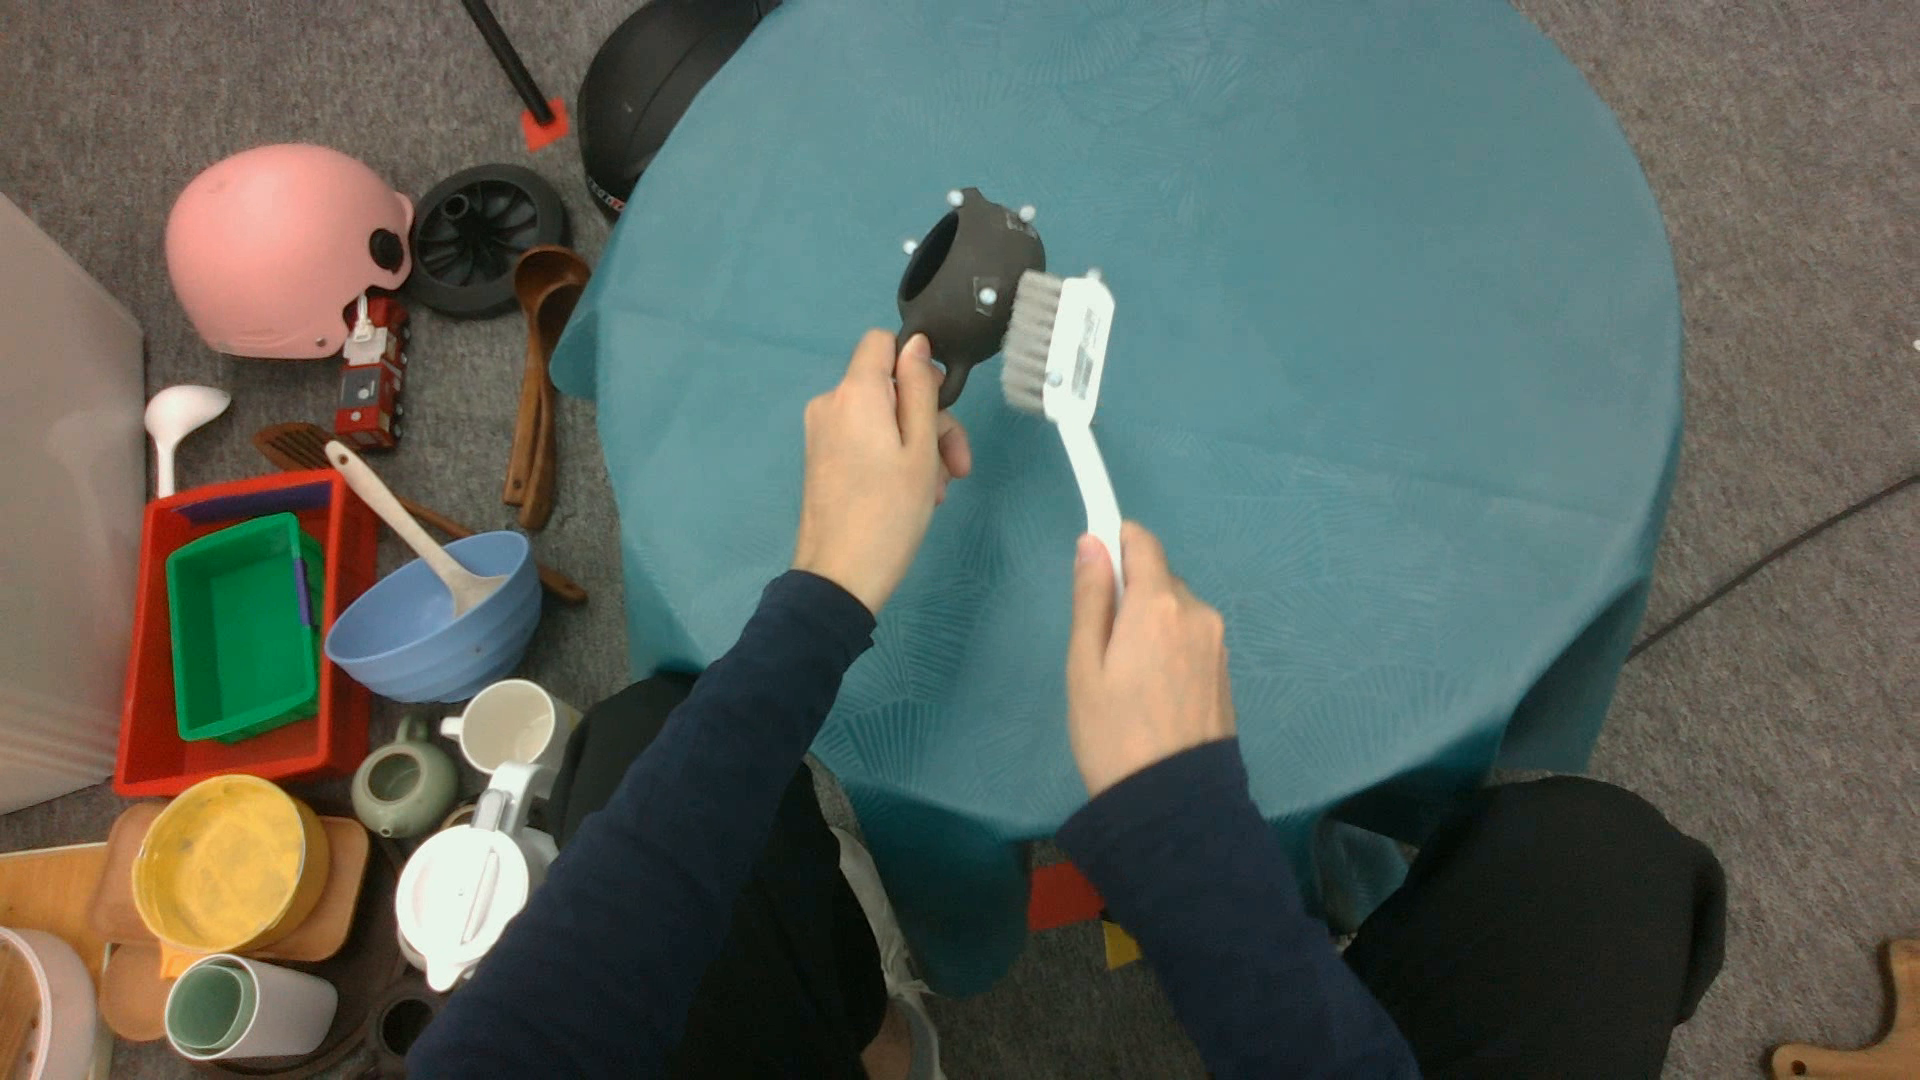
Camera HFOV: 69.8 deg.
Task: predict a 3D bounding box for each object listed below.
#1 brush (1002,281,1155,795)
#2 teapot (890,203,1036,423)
[{"bbox_3d":[0.052,-0.005,0.632,0.050,0.034,0.244,-11,75,23],"label":"brush"},{"bbox_3d":[-0.003,-0.111,0.688,0.053,0.082,0.114,30,71,-24],"label":"teapot"}]
